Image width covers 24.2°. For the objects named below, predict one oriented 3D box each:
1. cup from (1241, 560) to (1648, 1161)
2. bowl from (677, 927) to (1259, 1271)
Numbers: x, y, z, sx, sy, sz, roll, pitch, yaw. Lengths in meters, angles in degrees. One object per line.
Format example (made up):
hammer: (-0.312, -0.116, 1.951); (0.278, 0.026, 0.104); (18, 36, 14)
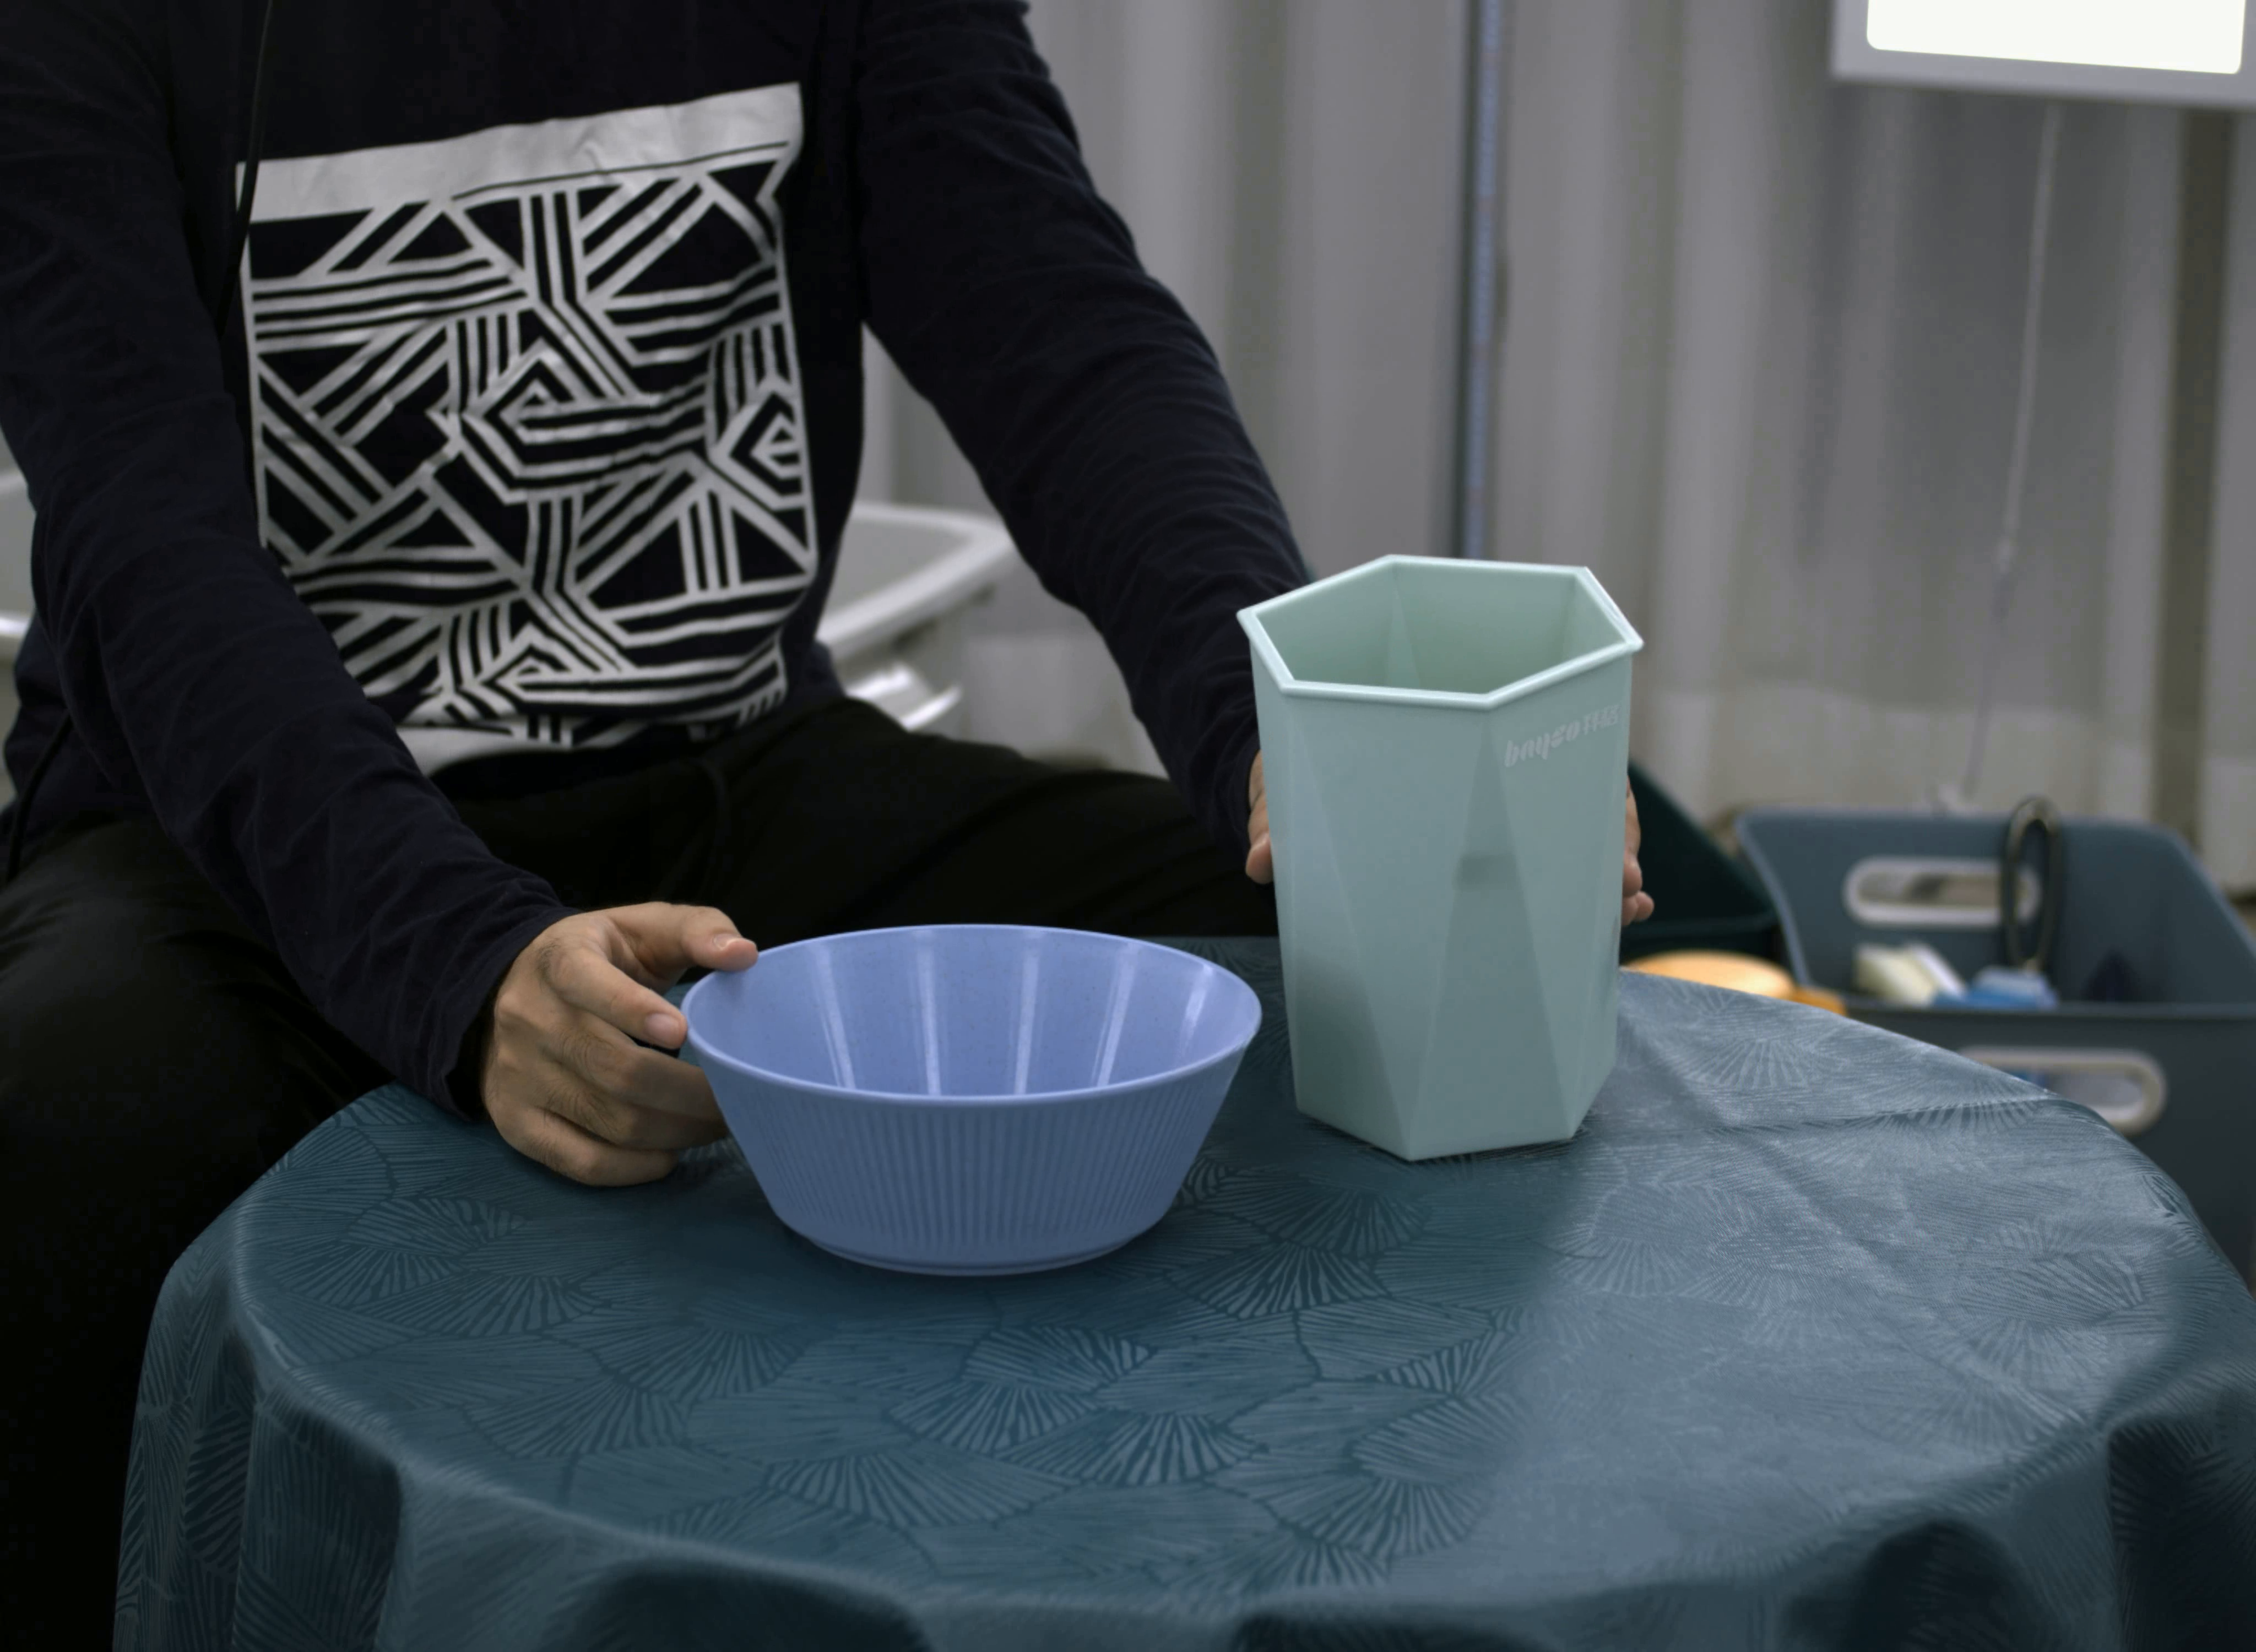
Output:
cup: (0.102, 0.011, 1.660); (0.131, 0.164, 0.113); (-22, 28, -39)
bowl: (-0.048, 0.085, 1.592); (0.175, 0.071, 0.175); (1, 15, 0)
